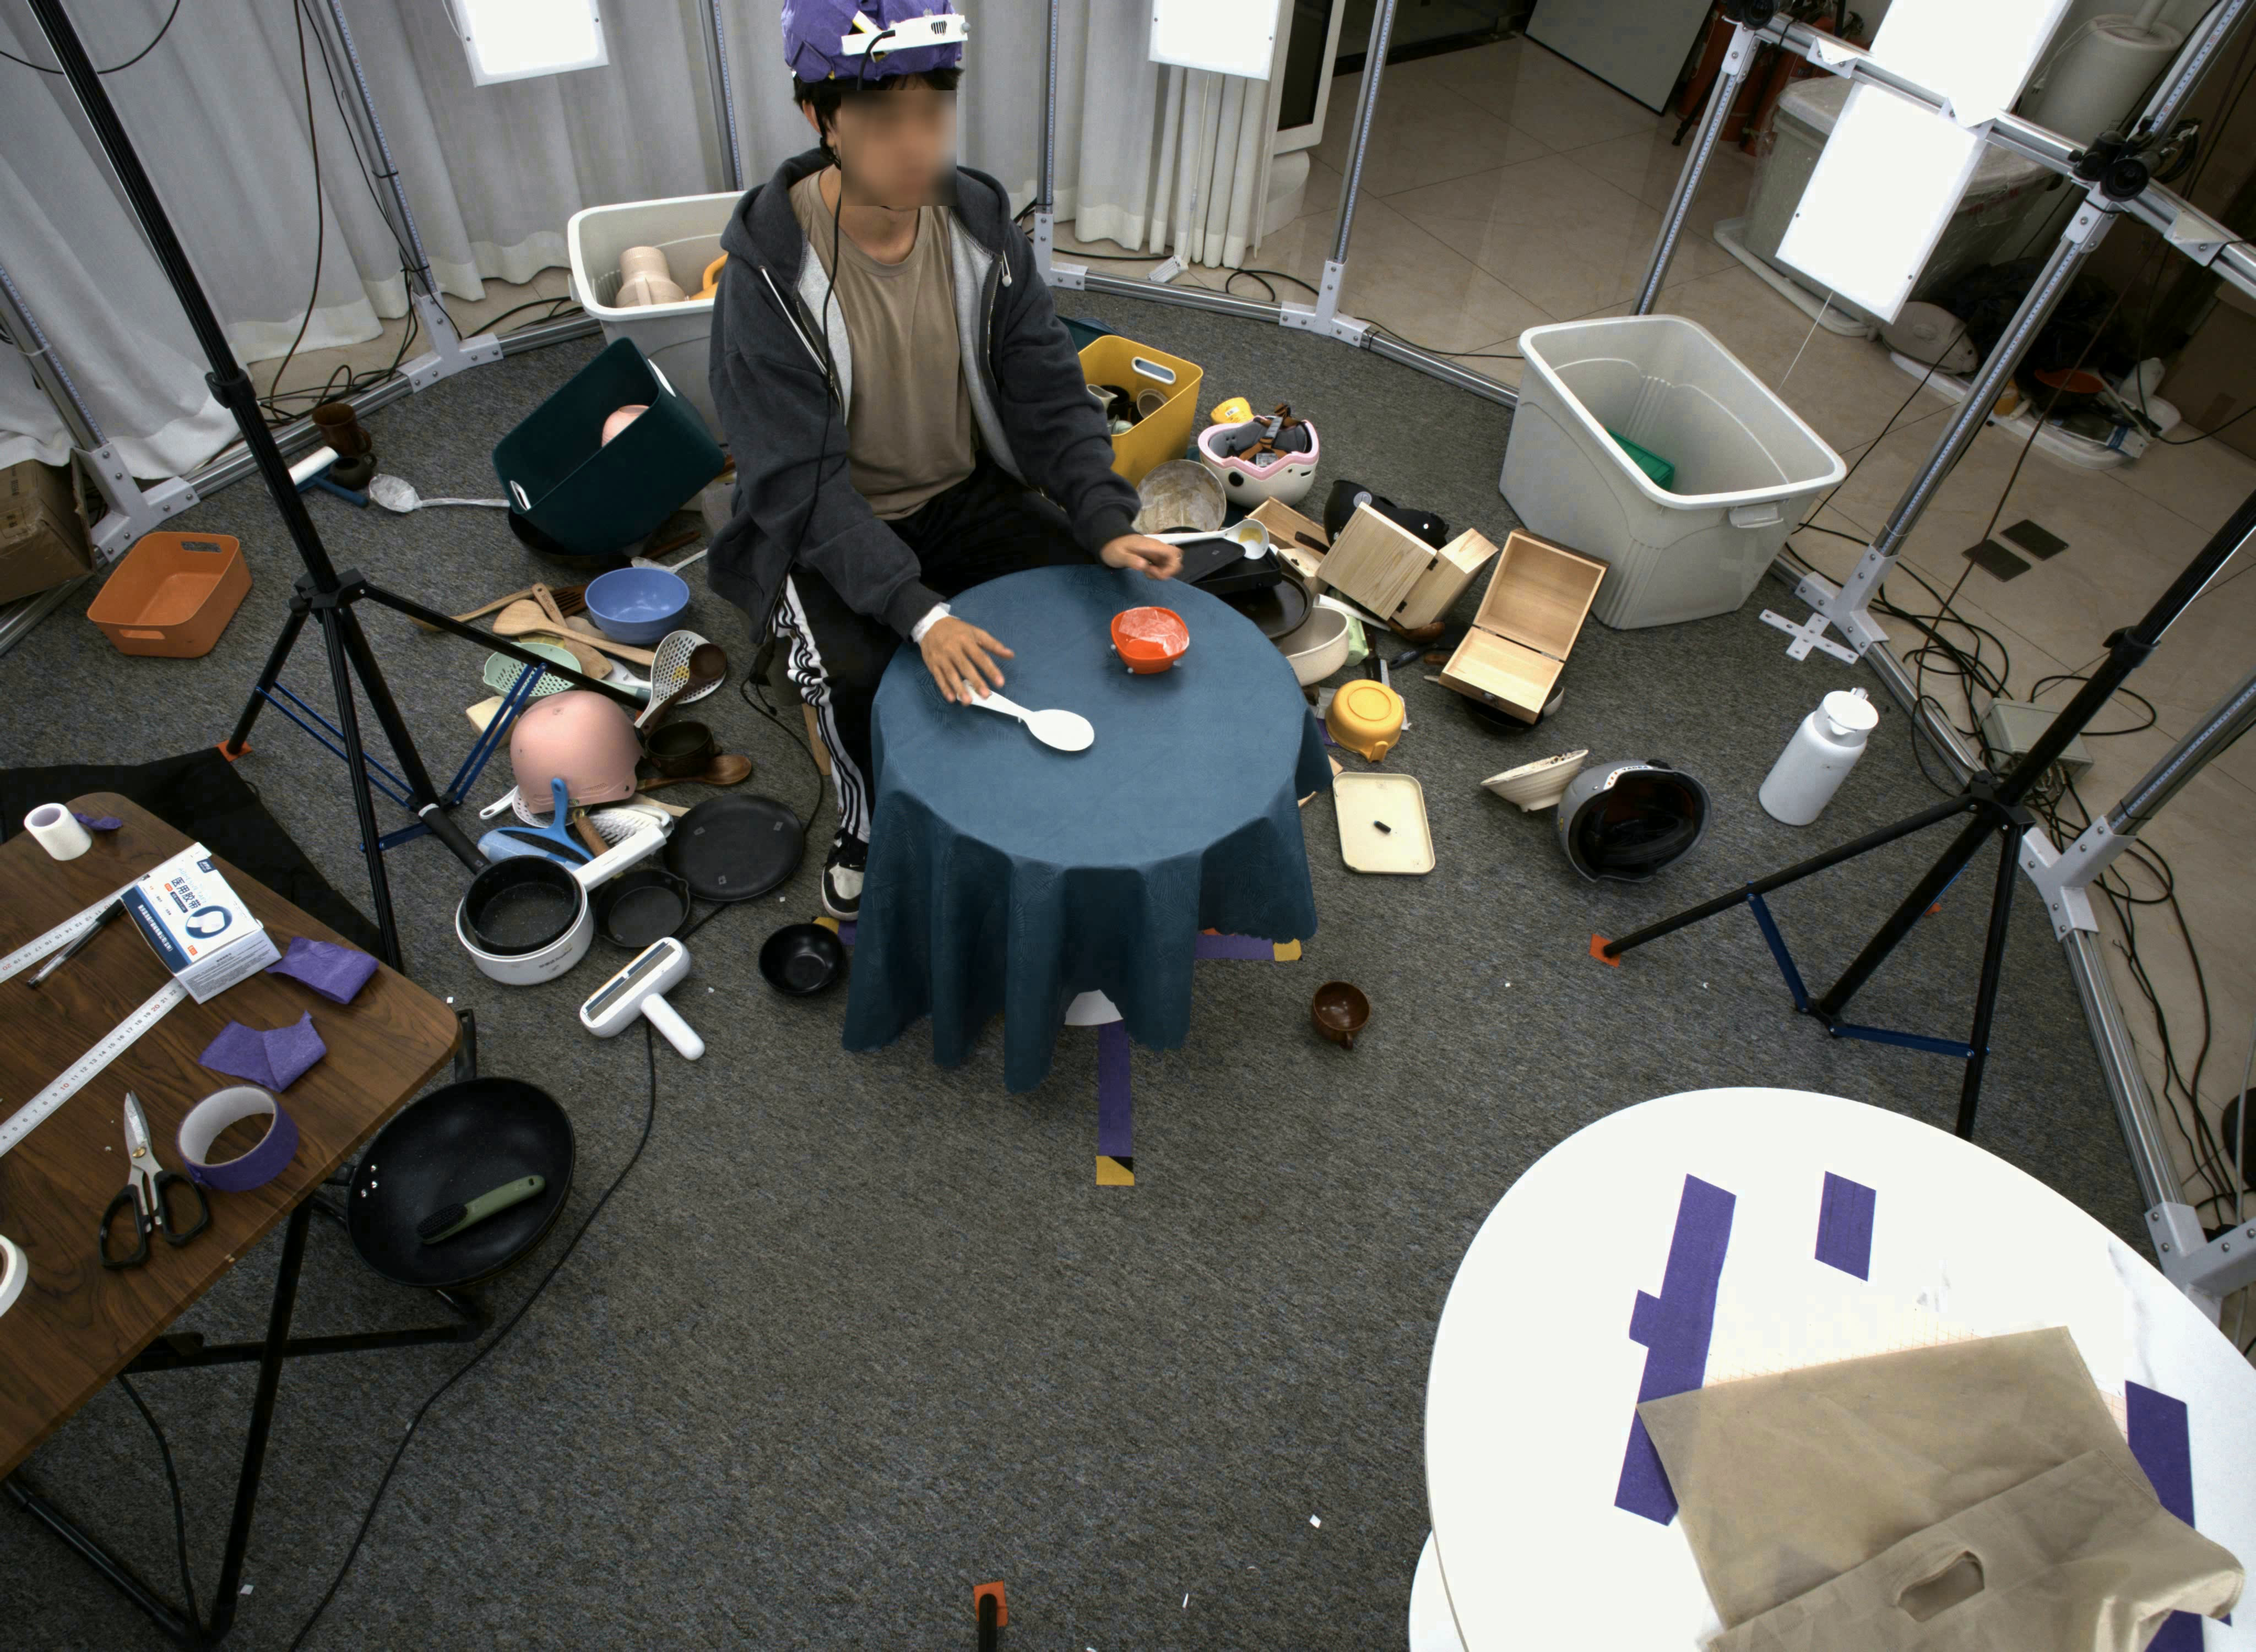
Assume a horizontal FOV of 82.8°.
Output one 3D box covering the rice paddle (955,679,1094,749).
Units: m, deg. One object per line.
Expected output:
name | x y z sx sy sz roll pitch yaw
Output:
rice paddle | -0.142 -0.156 1.772 0.206 0.029 0.070 22 53 14

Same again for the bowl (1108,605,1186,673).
bowl | 0.026 -0.265 1.861 0.119 0.050 0.122 1 49 -1
